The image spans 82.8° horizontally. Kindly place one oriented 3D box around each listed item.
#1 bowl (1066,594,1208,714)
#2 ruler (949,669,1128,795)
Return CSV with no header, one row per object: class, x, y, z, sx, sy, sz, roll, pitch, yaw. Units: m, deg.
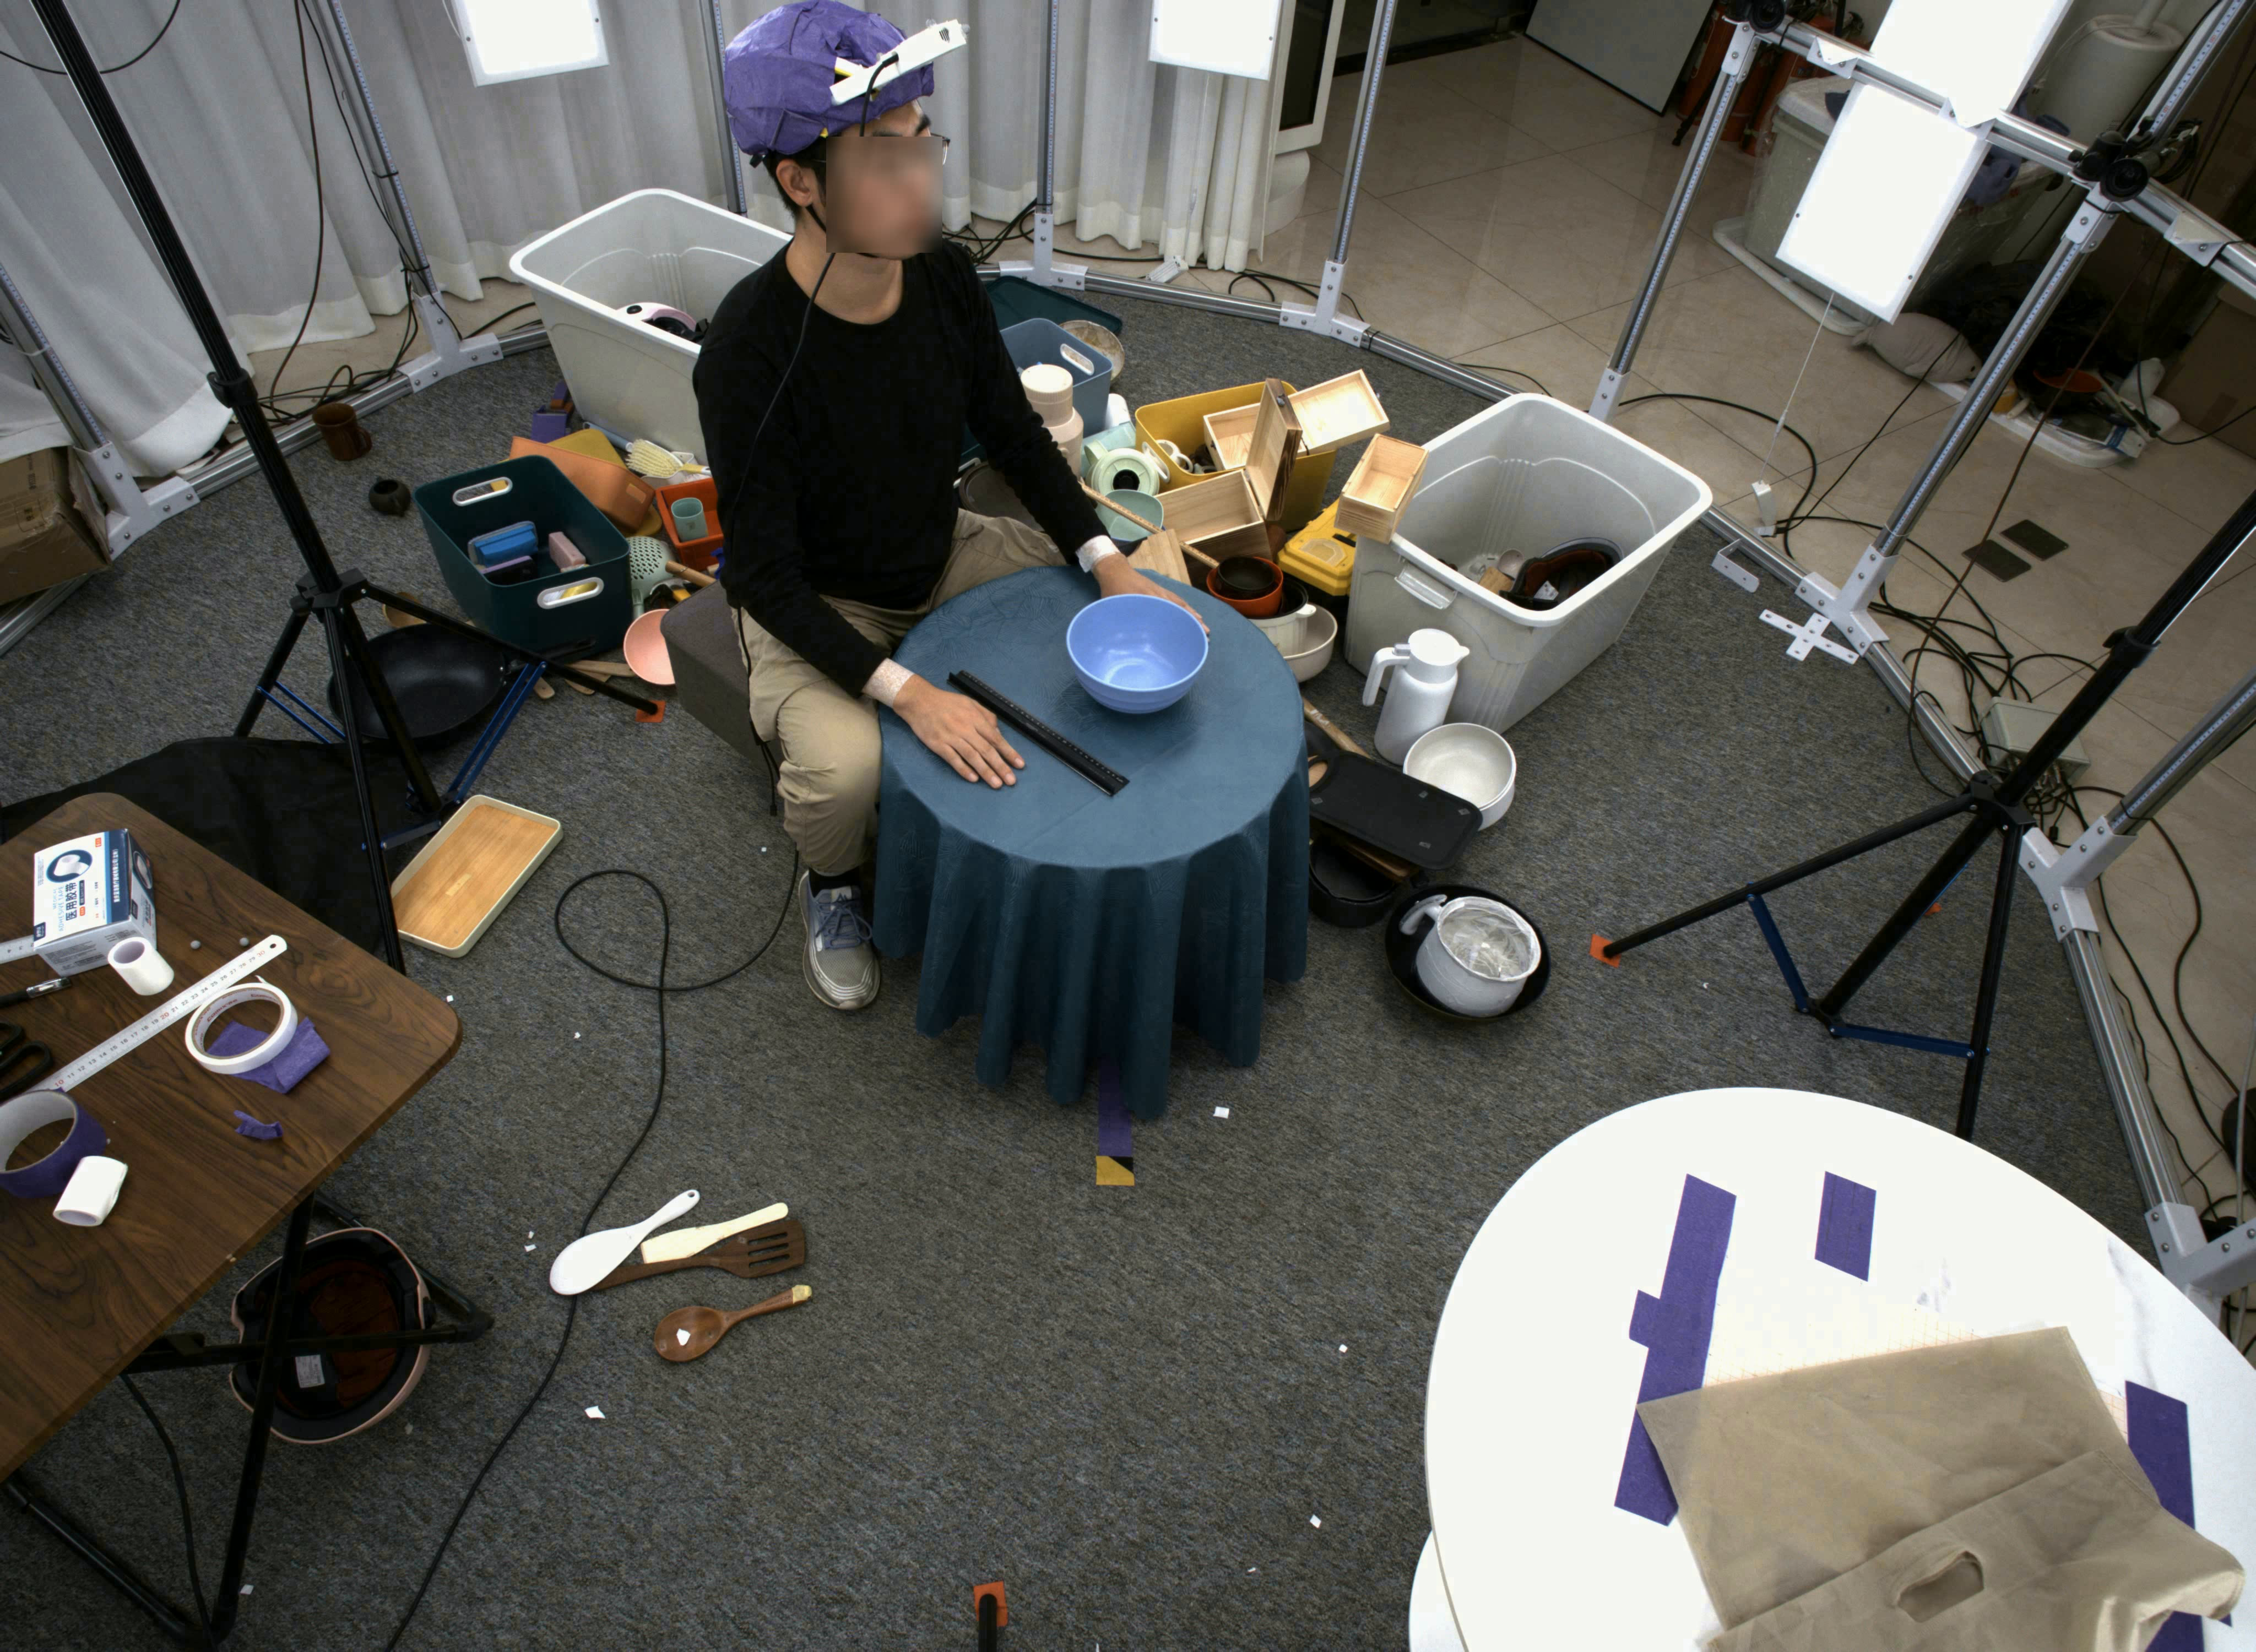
bowl,0.010,-0.227,1.806,0.196,0.093,0.201,2,49,-3
ruler,-0.125,-0.138,1.771,0.317,0.017,0.039,36,50,25
